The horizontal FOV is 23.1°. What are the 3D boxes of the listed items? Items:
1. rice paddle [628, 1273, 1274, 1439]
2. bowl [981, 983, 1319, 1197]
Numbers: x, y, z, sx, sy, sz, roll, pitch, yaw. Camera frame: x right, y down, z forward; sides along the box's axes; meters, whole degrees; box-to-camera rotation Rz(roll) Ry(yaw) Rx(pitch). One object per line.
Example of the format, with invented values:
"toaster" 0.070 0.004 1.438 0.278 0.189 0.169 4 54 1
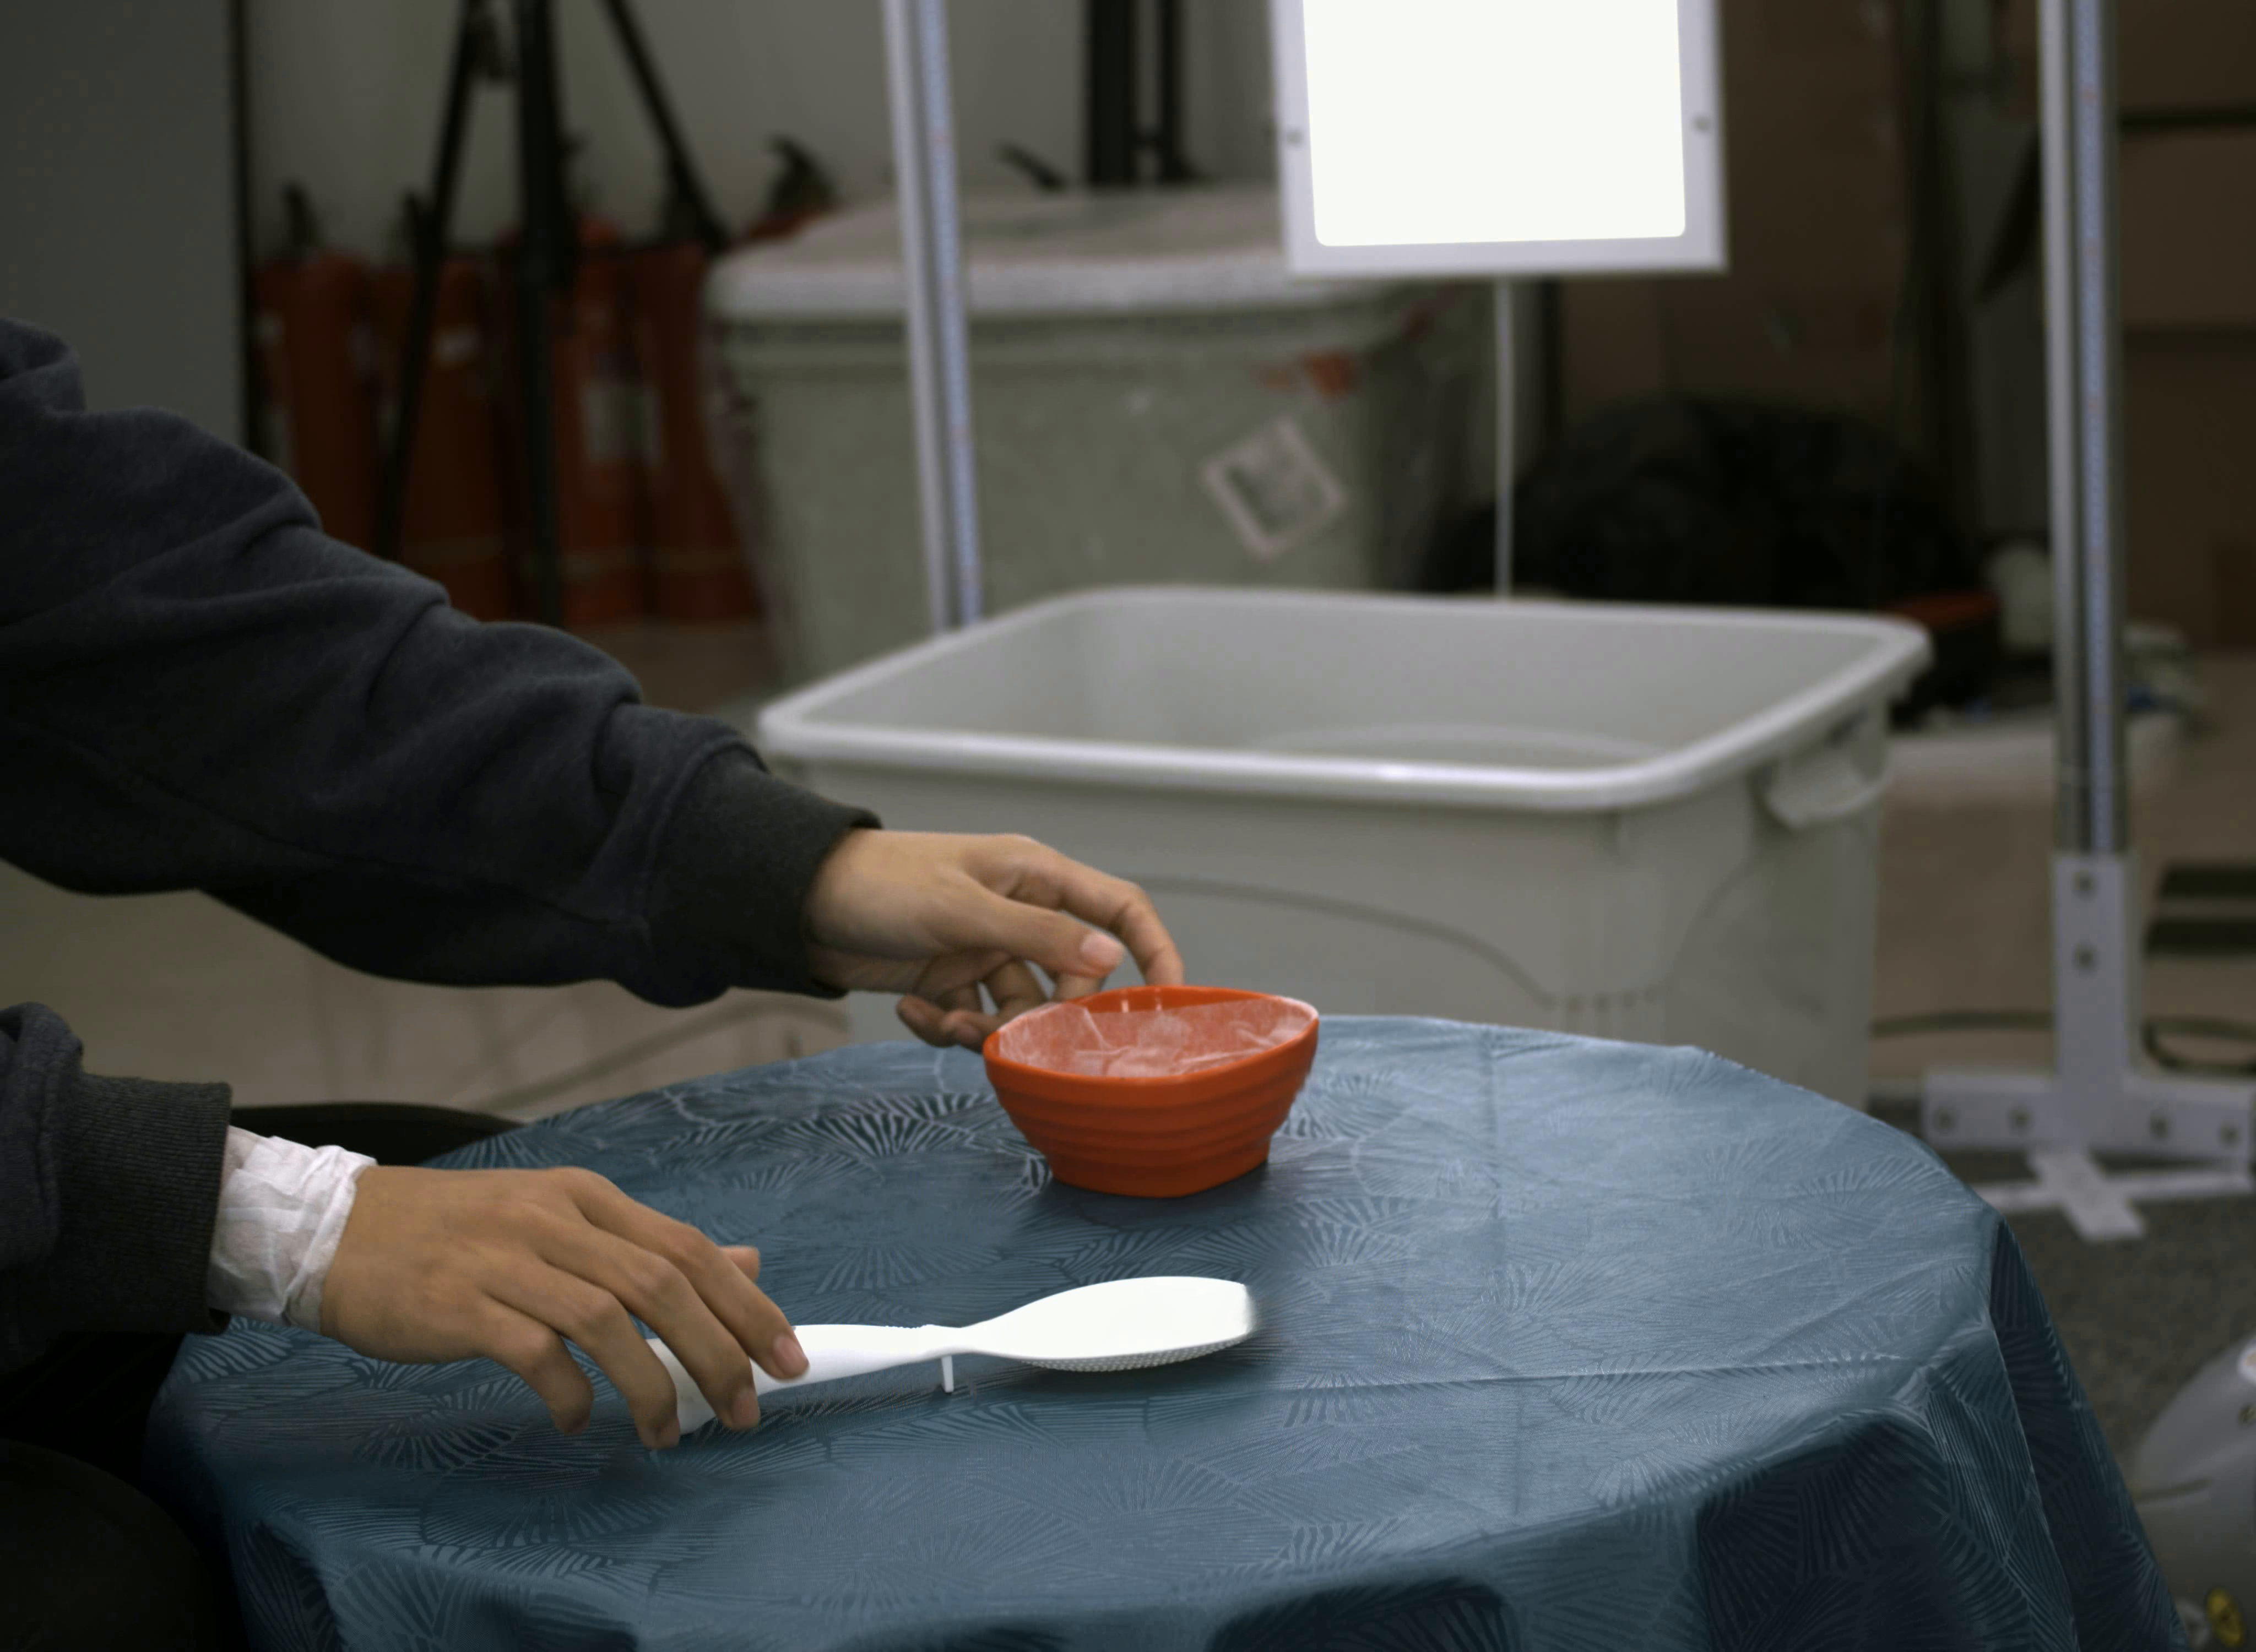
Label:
"rice paddle" -0.053 0.160 1.716 0.203 0.029 0.069 -8 16 -11
"bowl" 0.009 0.094 1.916 0.118 0.051 0.119 -4 14 0
